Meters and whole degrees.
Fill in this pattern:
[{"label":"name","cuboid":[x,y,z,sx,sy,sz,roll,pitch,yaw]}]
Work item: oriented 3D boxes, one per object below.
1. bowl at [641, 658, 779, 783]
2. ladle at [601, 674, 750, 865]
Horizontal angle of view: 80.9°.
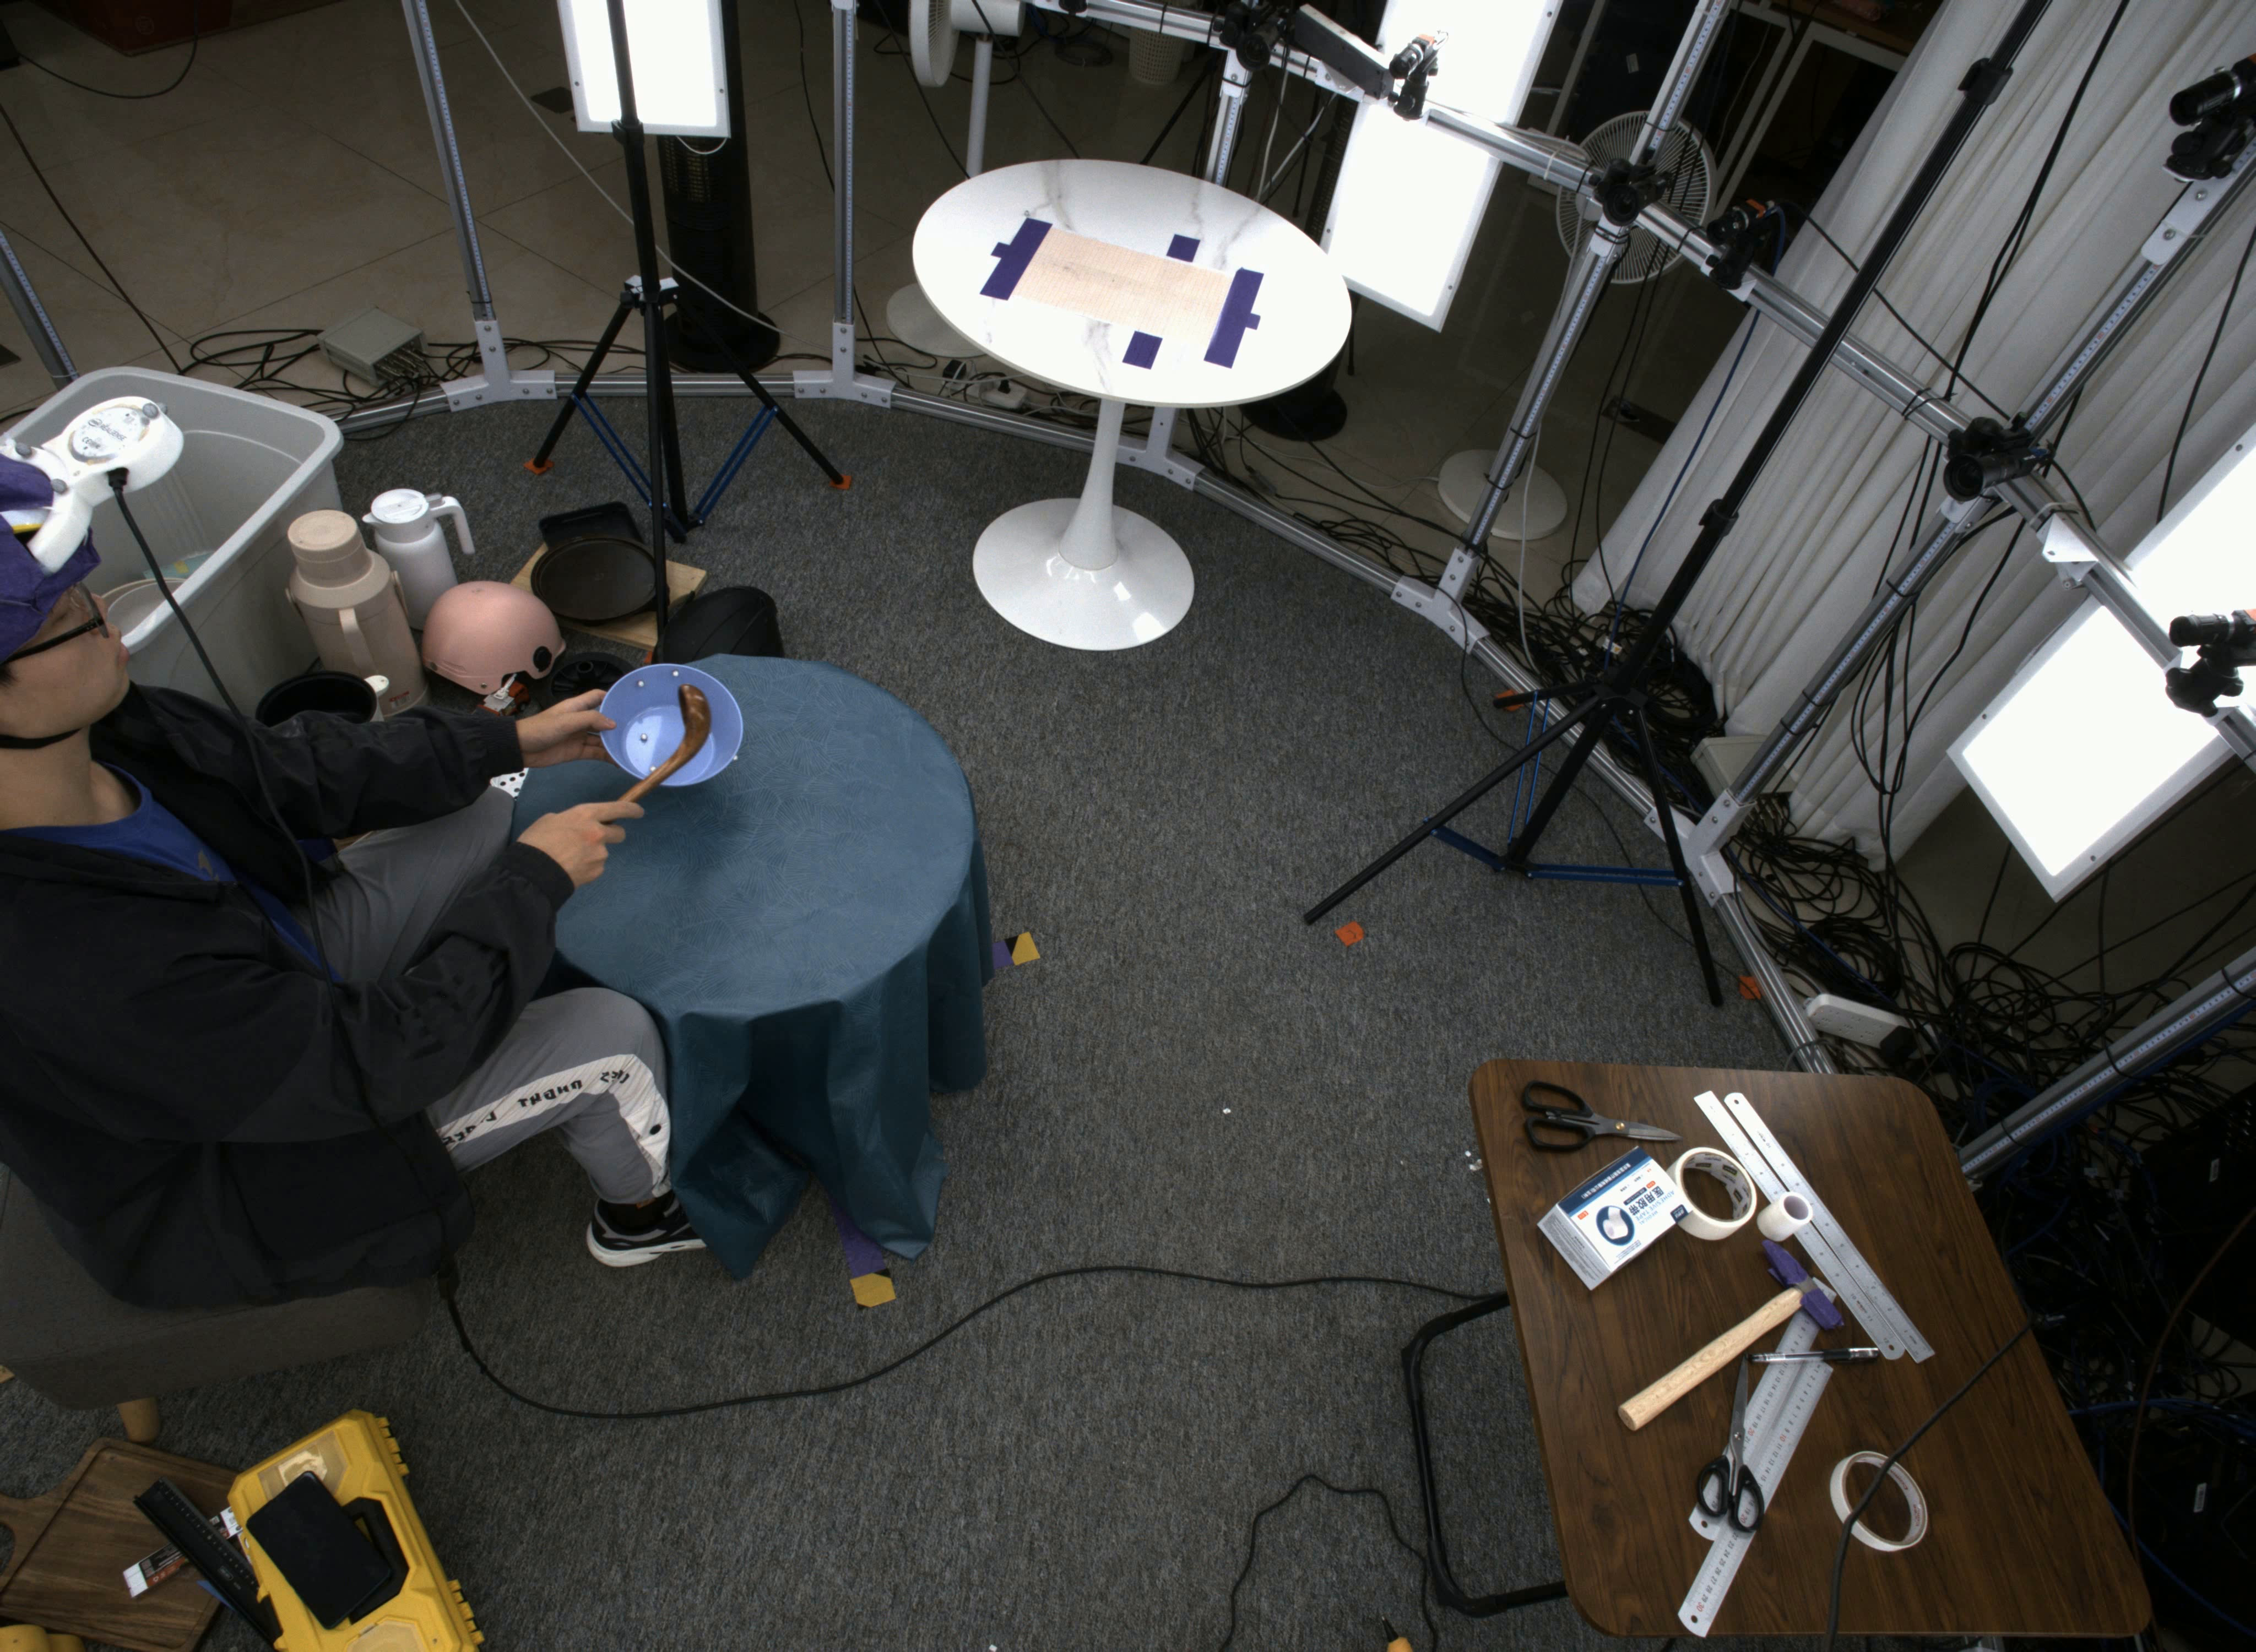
[{"label":"bowl","cuboid":[-0.545,-0.125,1.672,0.178,0.070,0.174,10,64,-19]},{"label":"ladle","cuboid":[-0.545,-0.074,1.520,0.076,0.083,0.274,38,62,7]}]
